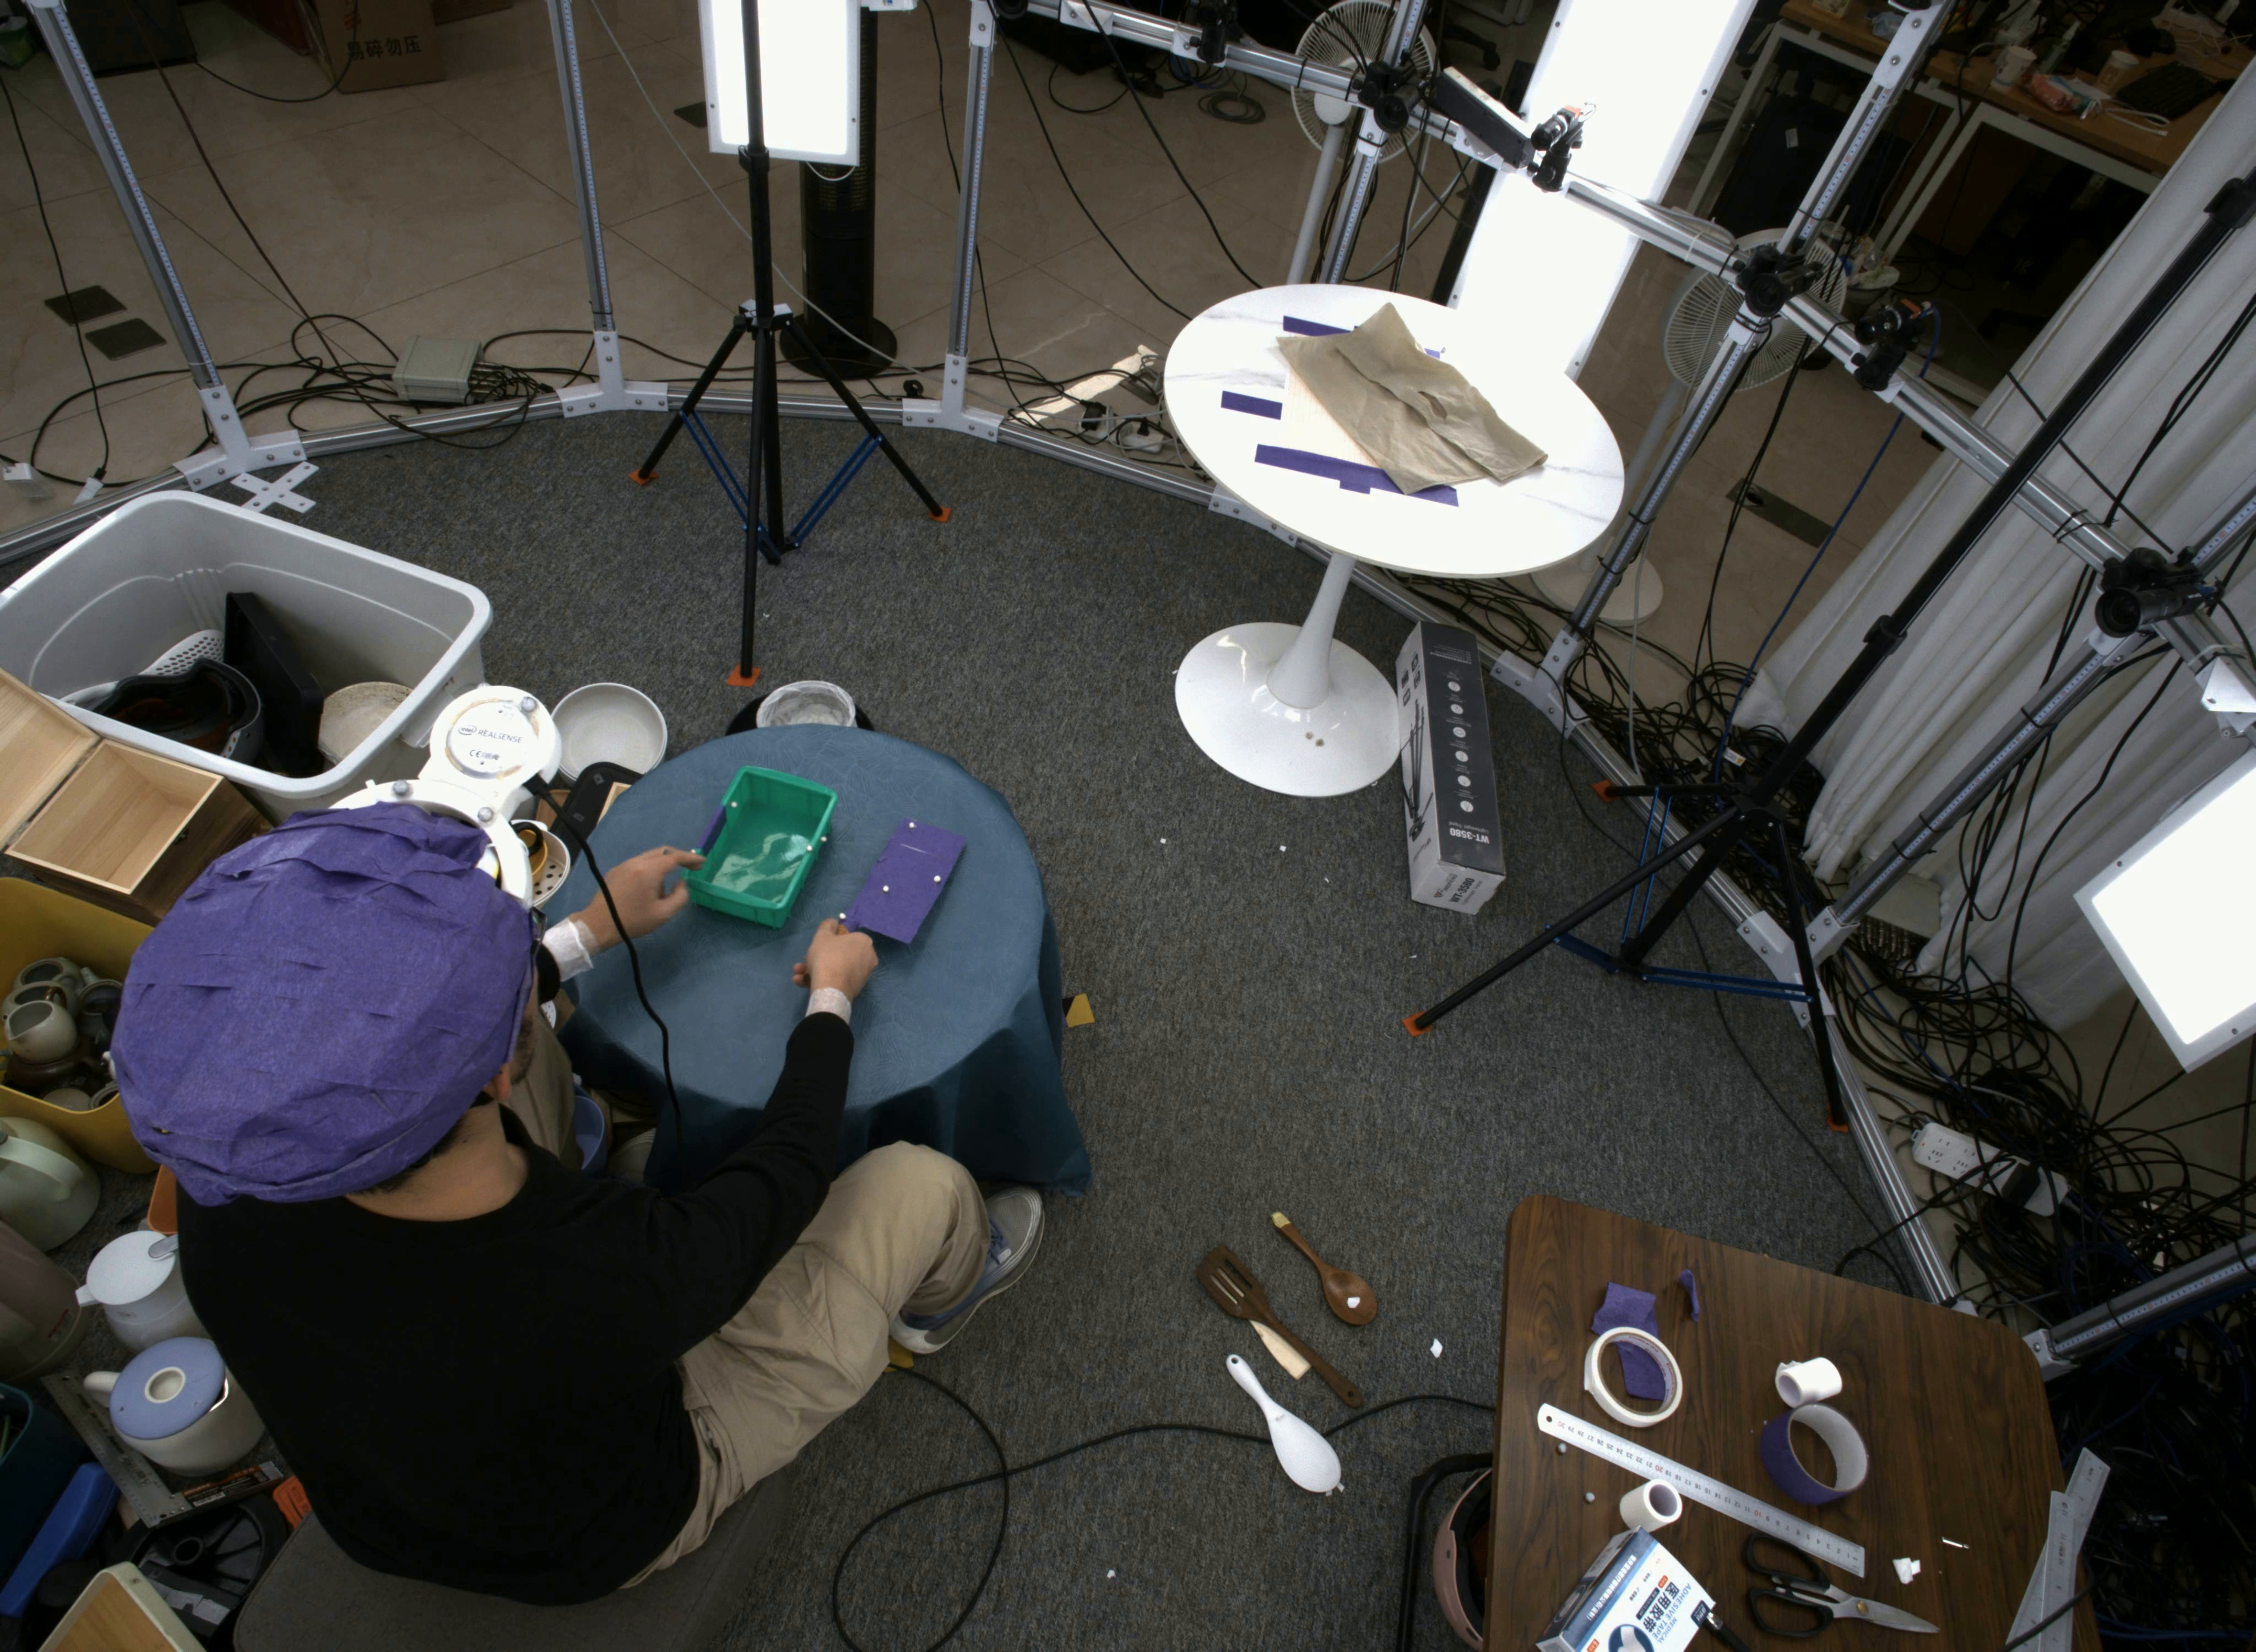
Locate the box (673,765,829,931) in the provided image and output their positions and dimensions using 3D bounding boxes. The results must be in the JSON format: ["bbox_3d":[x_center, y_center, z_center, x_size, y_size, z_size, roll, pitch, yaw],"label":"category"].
[{"bbox_3d":[-0.474,0.029,1.644,0.137,0.067,0.208,14,53,-1],"label":"box"}]

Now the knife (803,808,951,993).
[{"bbox_3d":[-0.305,0.090,1.630,0.103,0.033,0.311,19,45,1],"label":"knife"}]
